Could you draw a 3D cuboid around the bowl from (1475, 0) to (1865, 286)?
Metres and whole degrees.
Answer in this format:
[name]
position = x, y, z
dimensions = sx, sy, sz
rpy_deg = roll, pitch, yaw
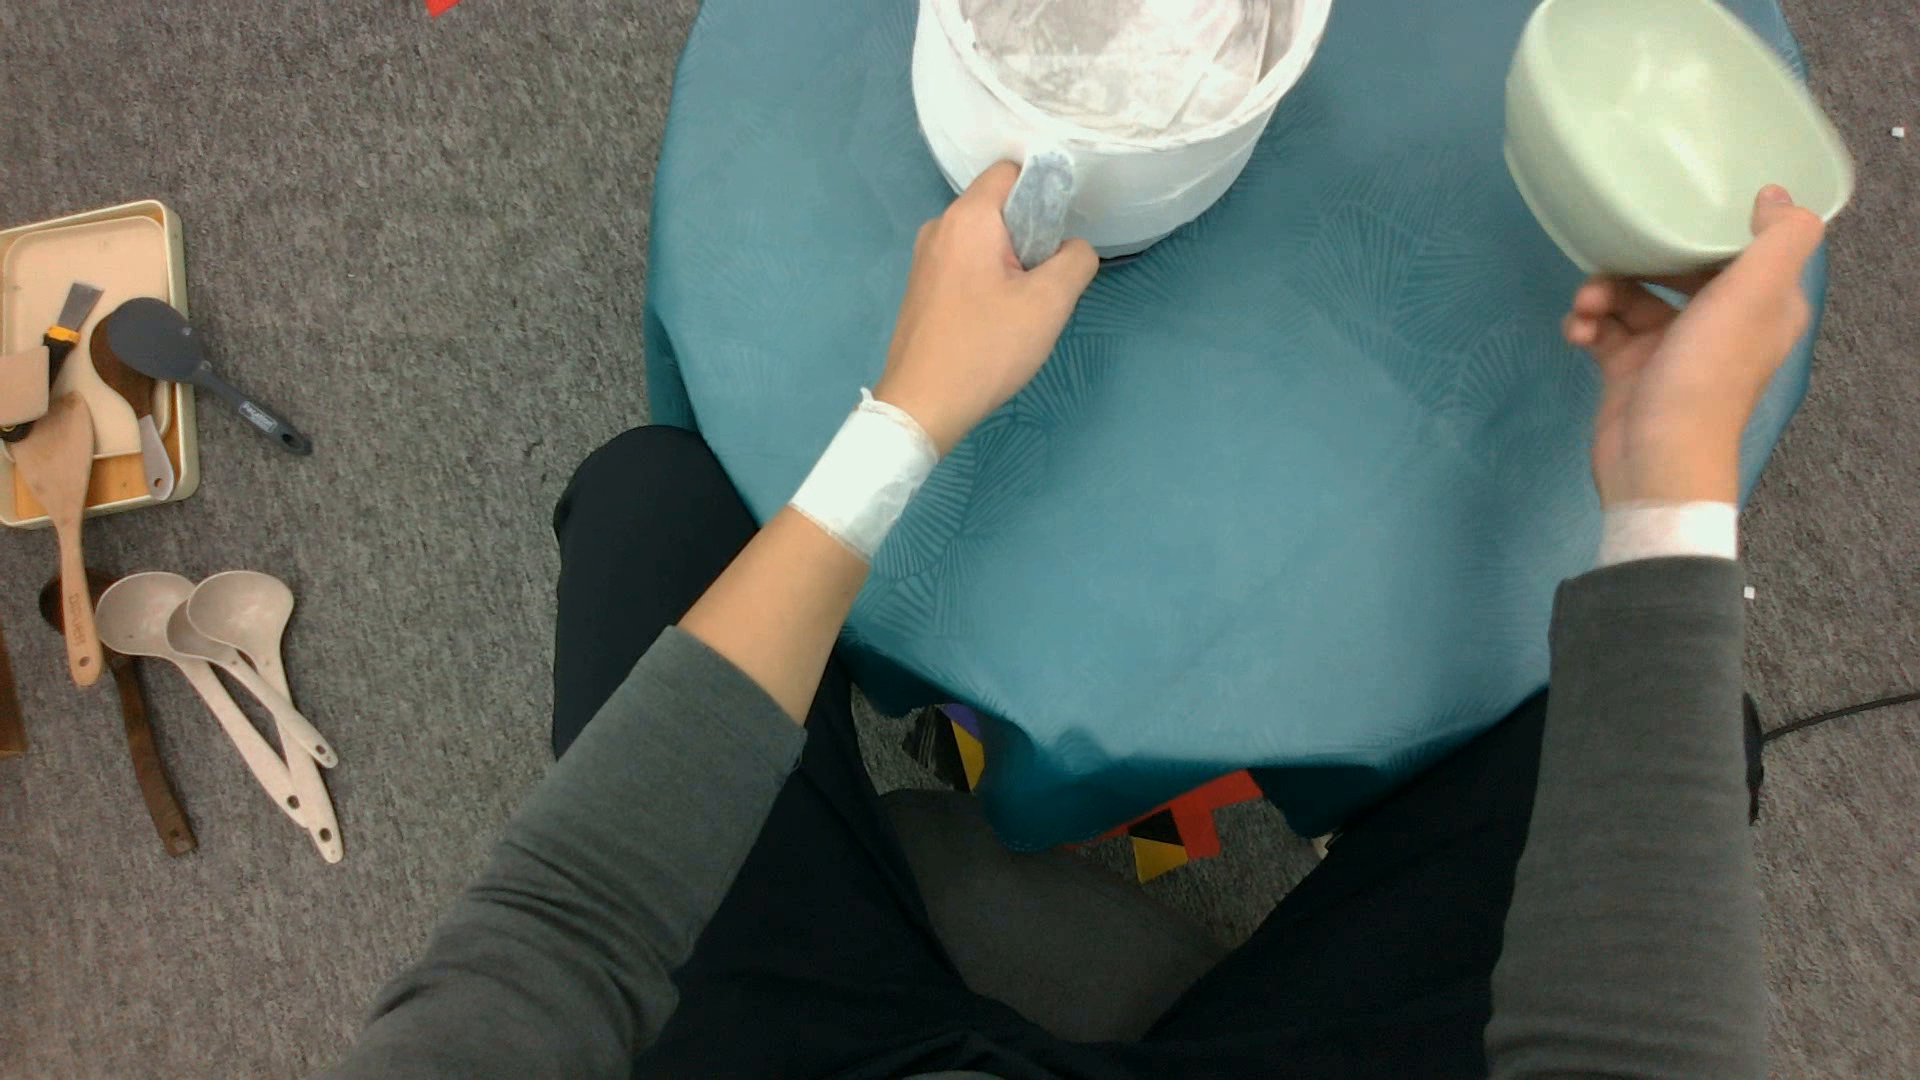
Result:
[bowl]
position = 0.299, -0.163, 0.595
dimensions = 0.151, 0.058, 0.152
rpy_deg = -11, 53, 14

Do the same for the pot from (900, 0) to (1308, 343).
[pot]
position = 0.052, -0.212, 0.646
dimensions = 0.179, 0.136, 0.234
rpy_deg = 18, 78, 1
